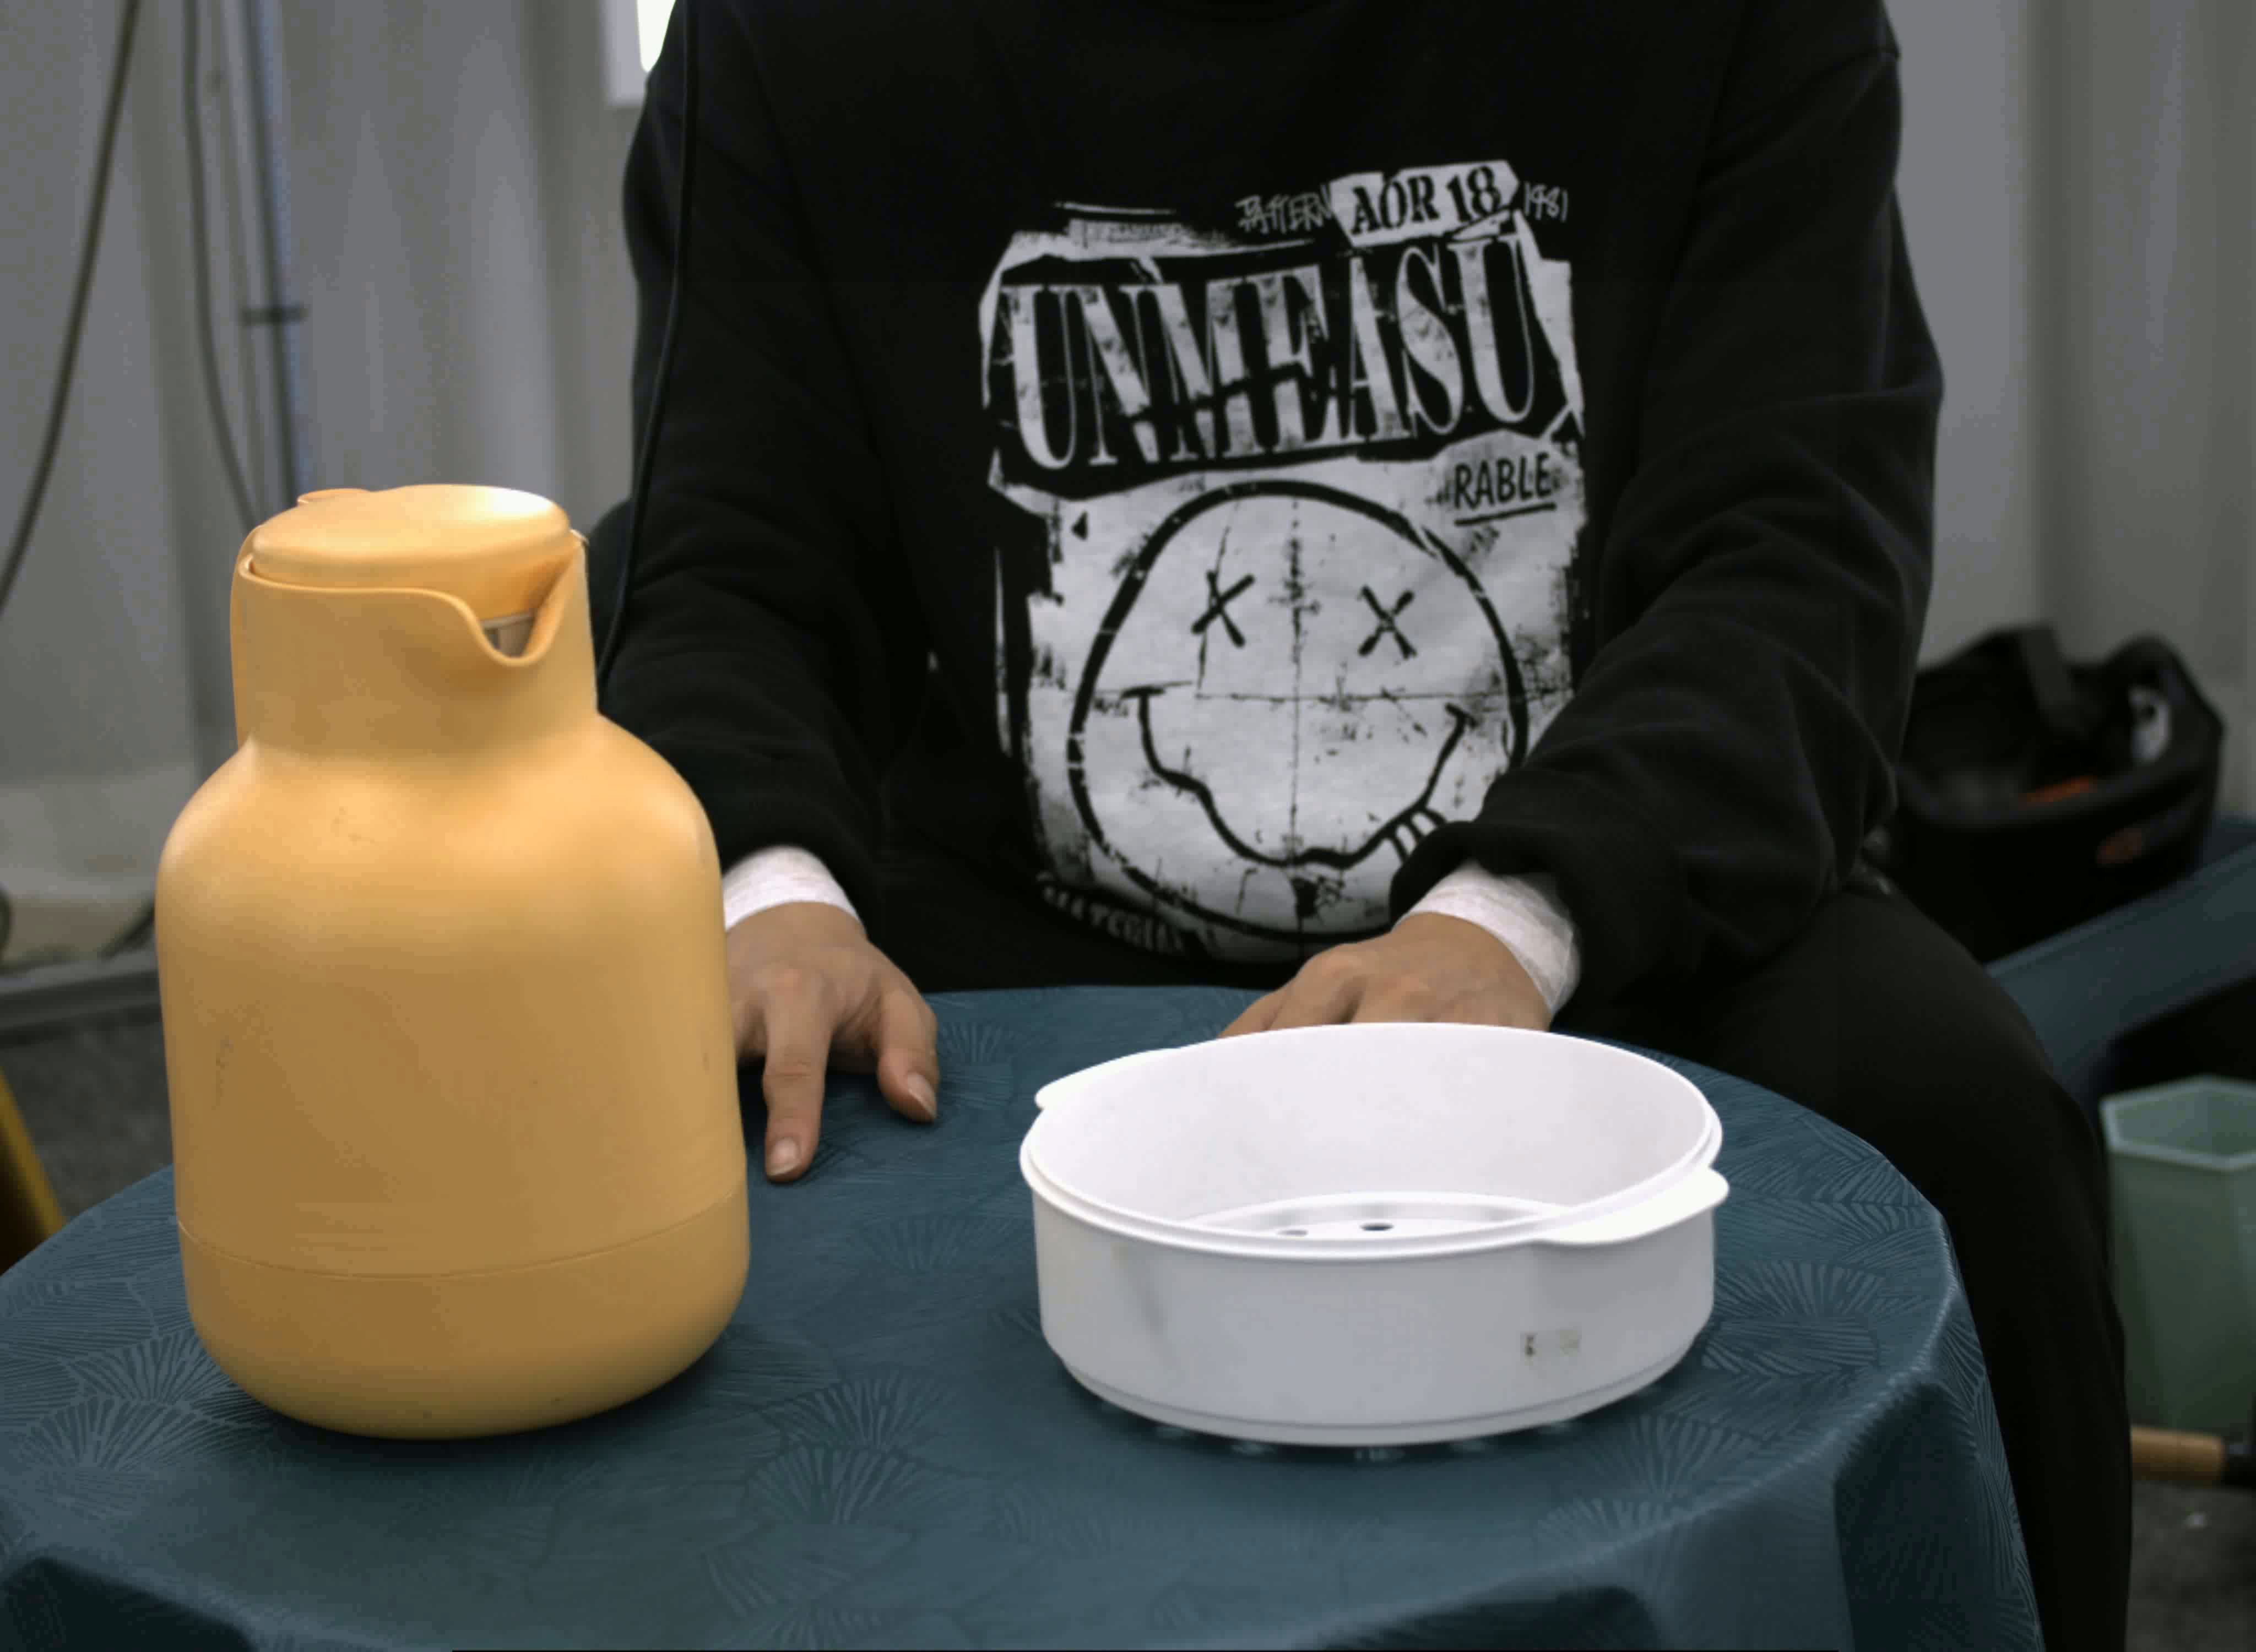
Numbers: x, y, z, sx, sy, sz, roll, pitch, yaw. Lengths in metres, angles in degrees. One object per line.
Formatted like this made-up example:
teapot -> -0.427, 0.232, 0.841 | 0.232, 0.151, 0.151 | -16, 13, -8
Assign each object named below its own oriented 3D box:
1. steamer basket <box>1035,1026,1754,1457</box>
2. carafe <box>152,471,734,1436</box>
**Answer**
steamer basket -> 0.074, 0.118, 1.558 | 0.232, 0.069, 0.201 | 14, 21, 42
carafe -> -0.203, 0.028, 1.573 | 0.162, 0.259, 0.204 | -7, 16, -26
